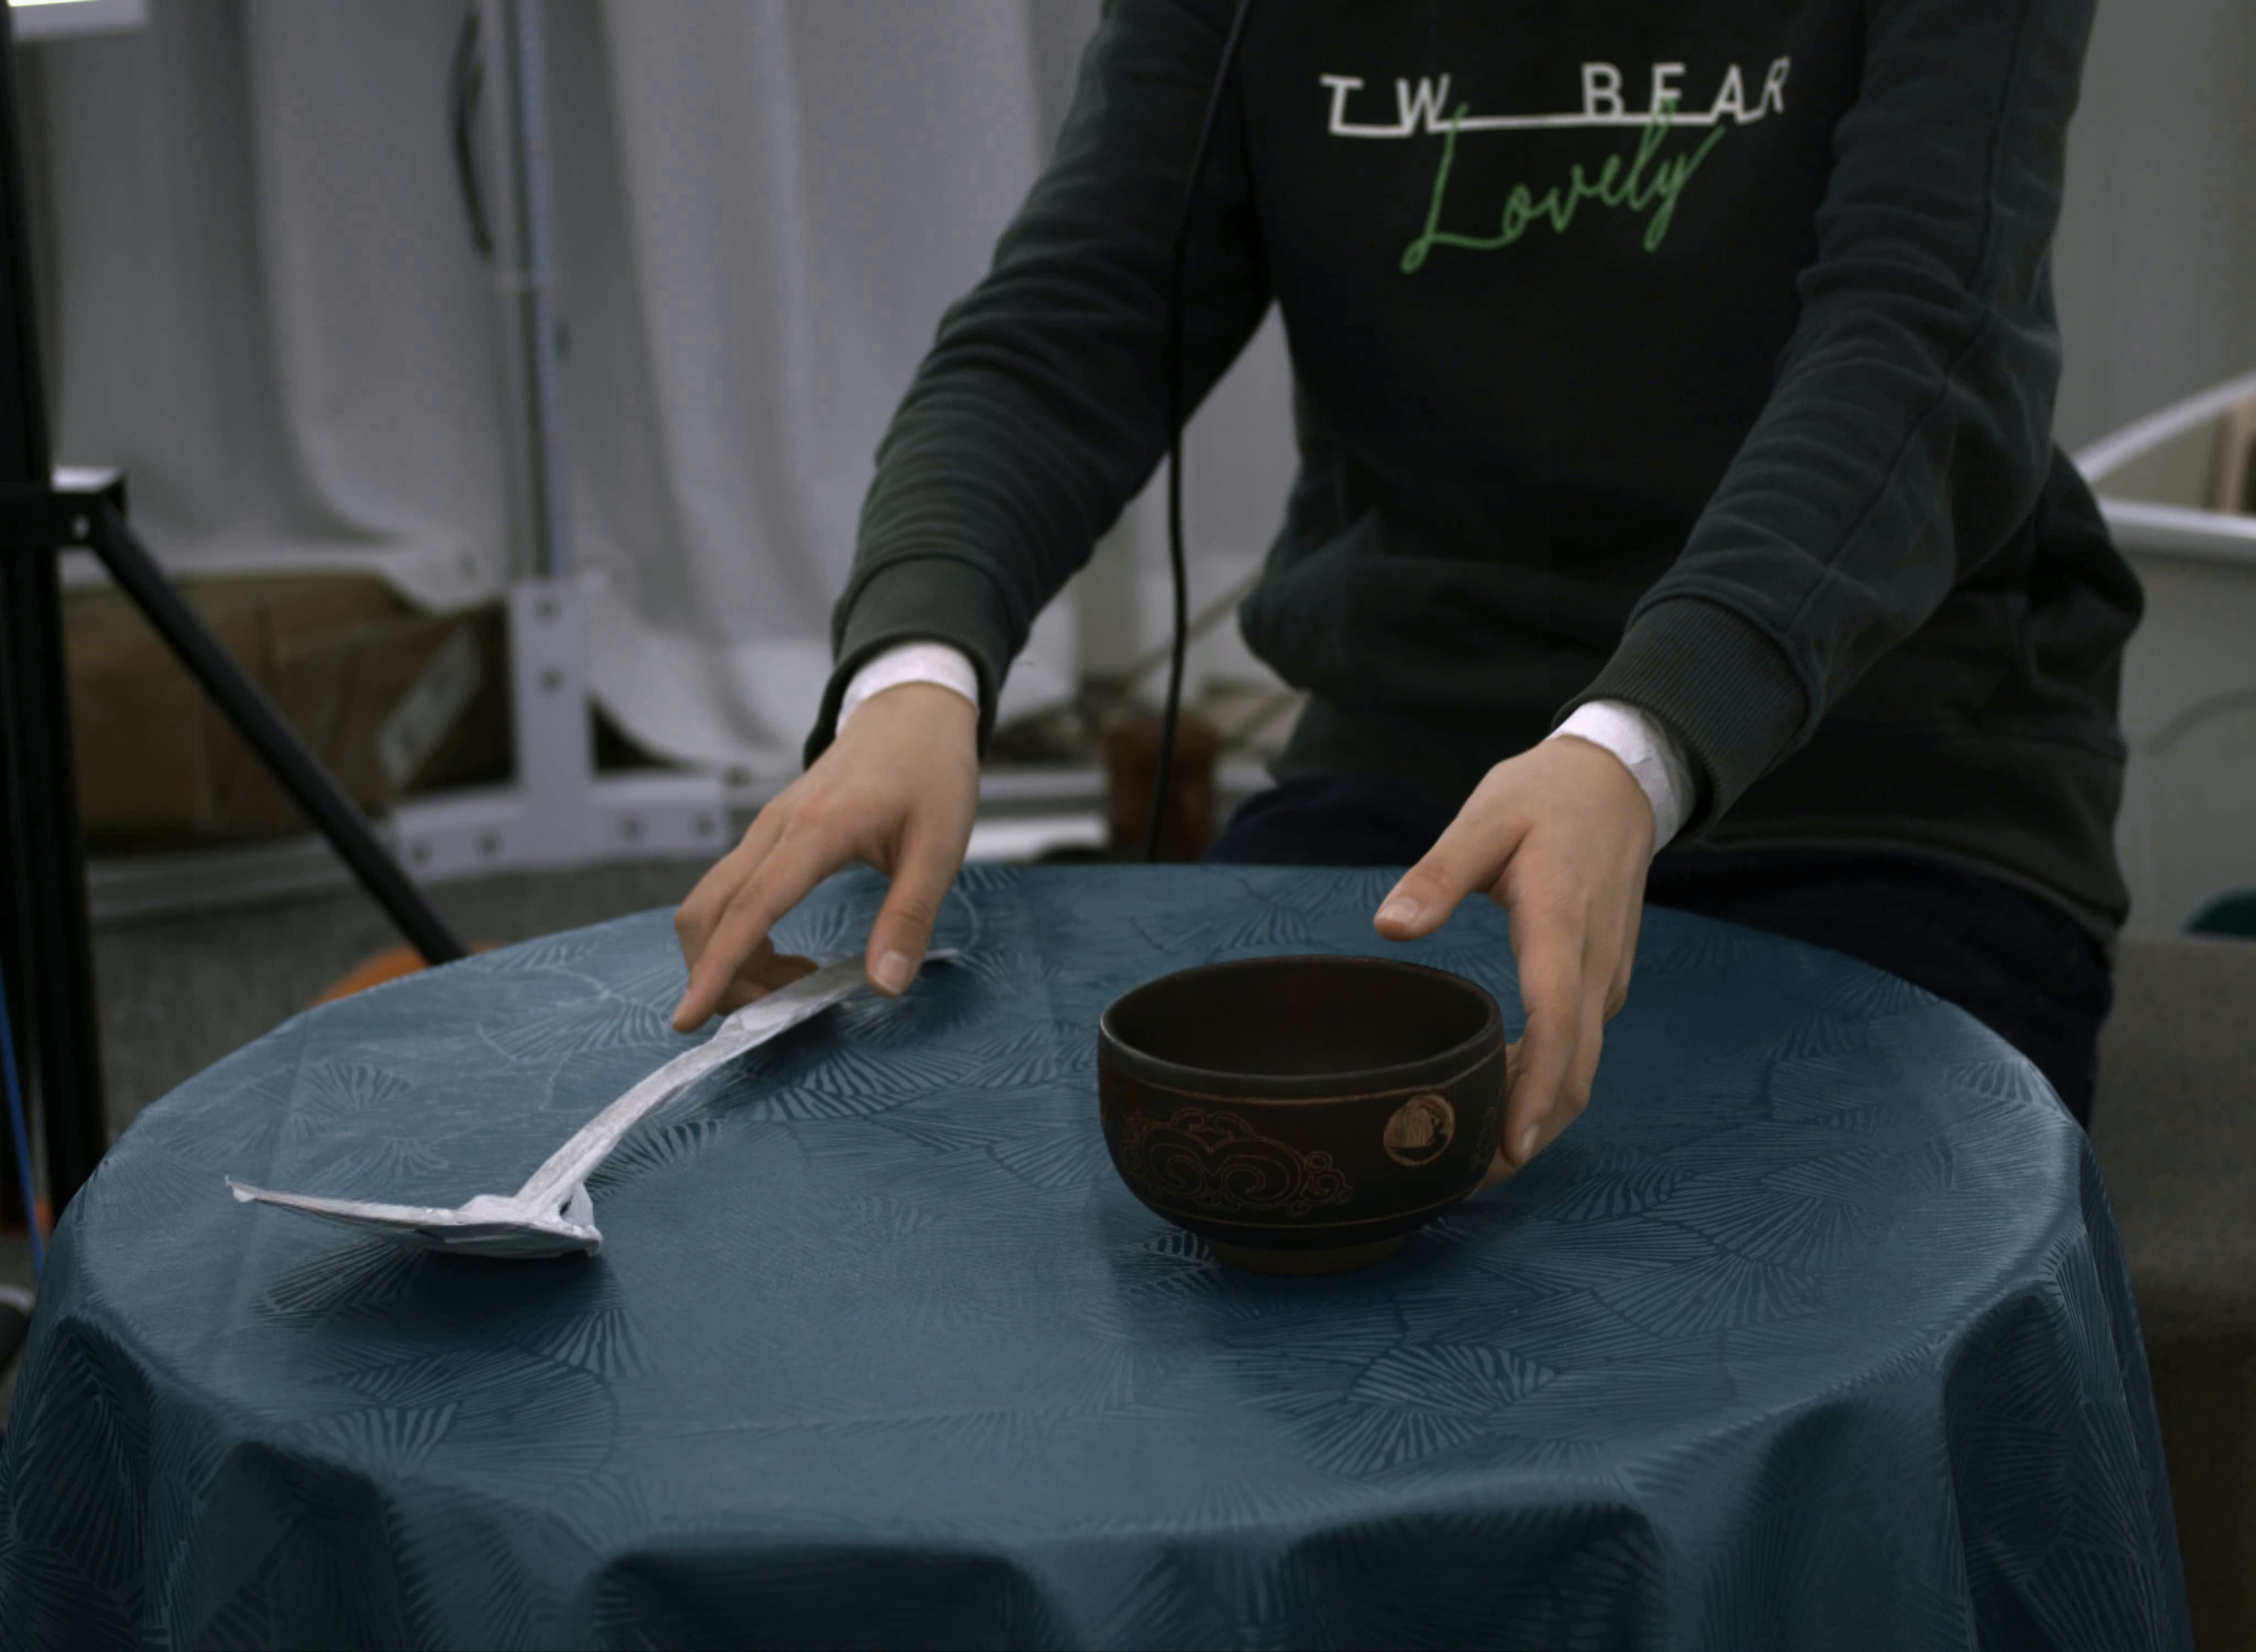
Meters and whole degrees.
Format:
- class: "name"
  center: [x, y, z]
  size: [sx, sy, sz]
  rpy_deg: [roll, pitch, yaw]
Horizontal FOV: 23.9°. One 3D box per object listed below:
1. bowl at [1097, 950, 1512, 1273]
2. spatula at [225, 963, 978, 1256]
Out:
- class: "bowl"
  center: [0.050, 0.085, 1.502]
  size: [0.117, 0.070, 0.118]
  rpy_deg: [-1, 16, -1]
- class: "spatula"
  center: [-0.138, 0.076, 1.622]
  size: [0.100, 0.045, 0.359]
  rpy_deg: [3, 17, 26]
